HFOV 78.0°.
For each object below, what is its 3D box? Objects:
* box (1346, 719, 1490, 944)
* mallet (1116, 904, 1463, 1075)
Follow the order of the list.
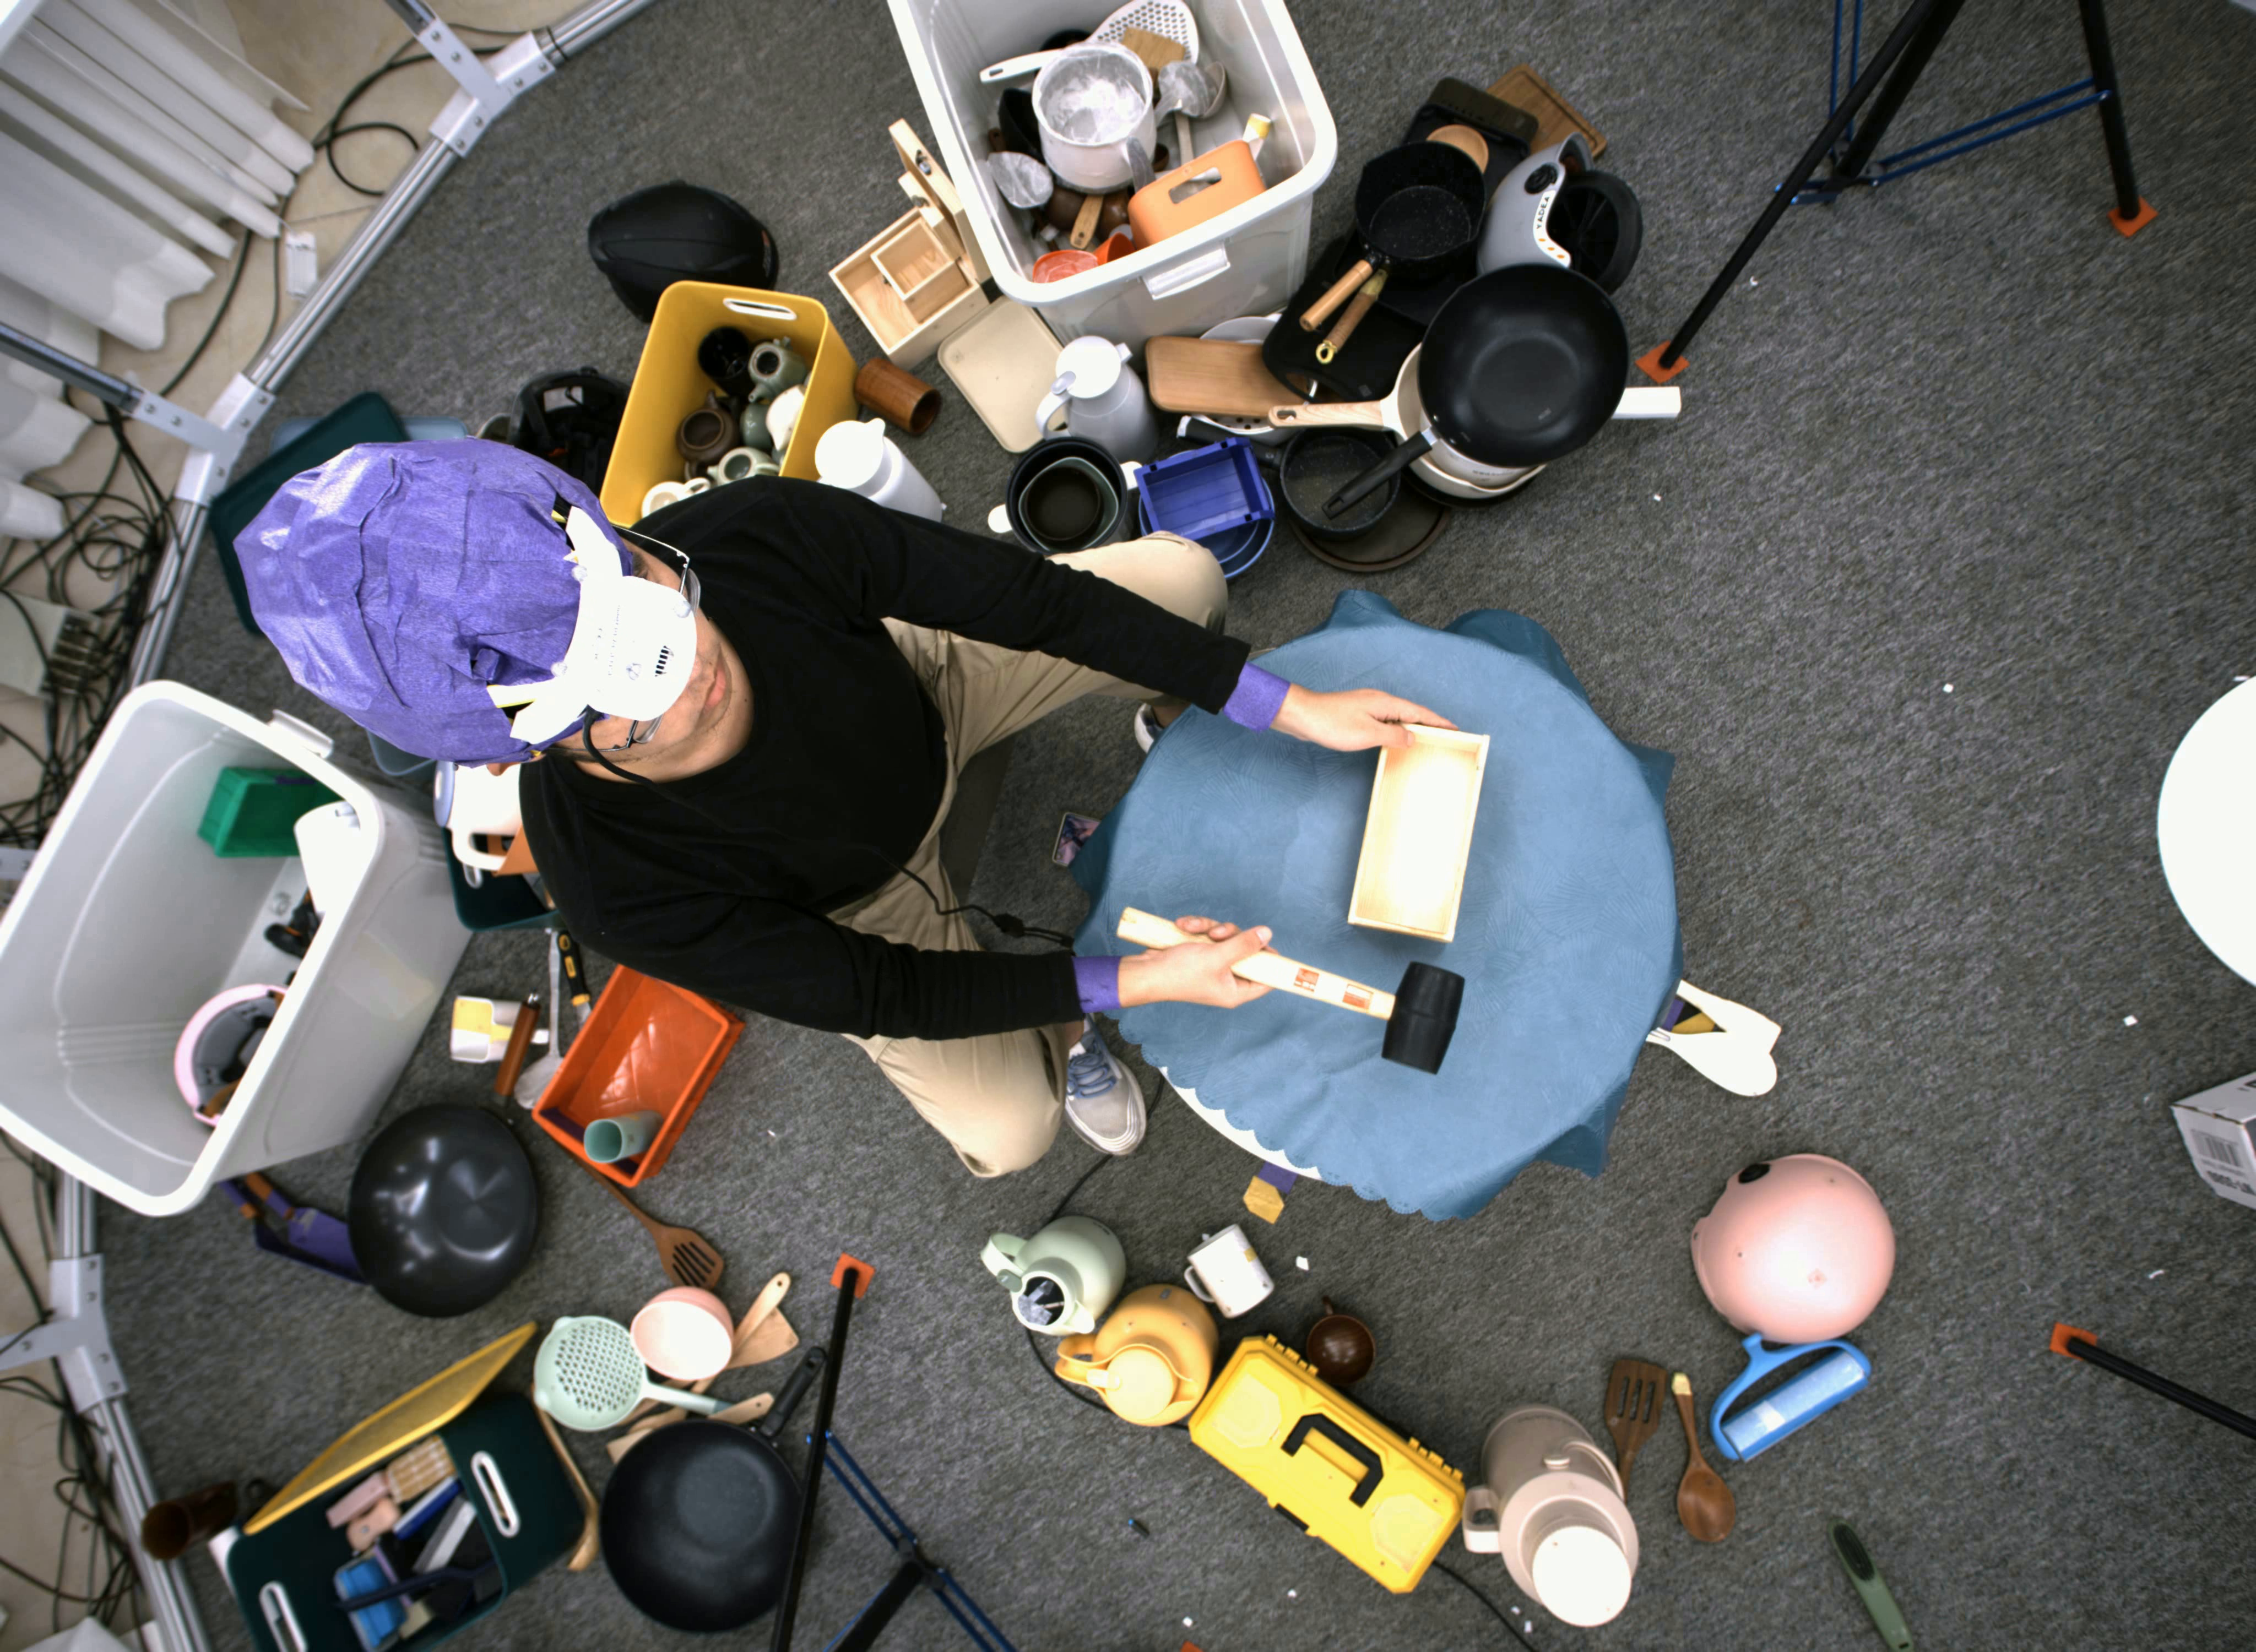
[{"bbox_3d":[0.298,0.006,1.418,0.108,0.080,0.211,11,89,12],"label":"box"},{"bbox_3d":[0.151,0.140,1.341,0.339,0.065,0.101,18,80,6],"label":"mallet"}]
